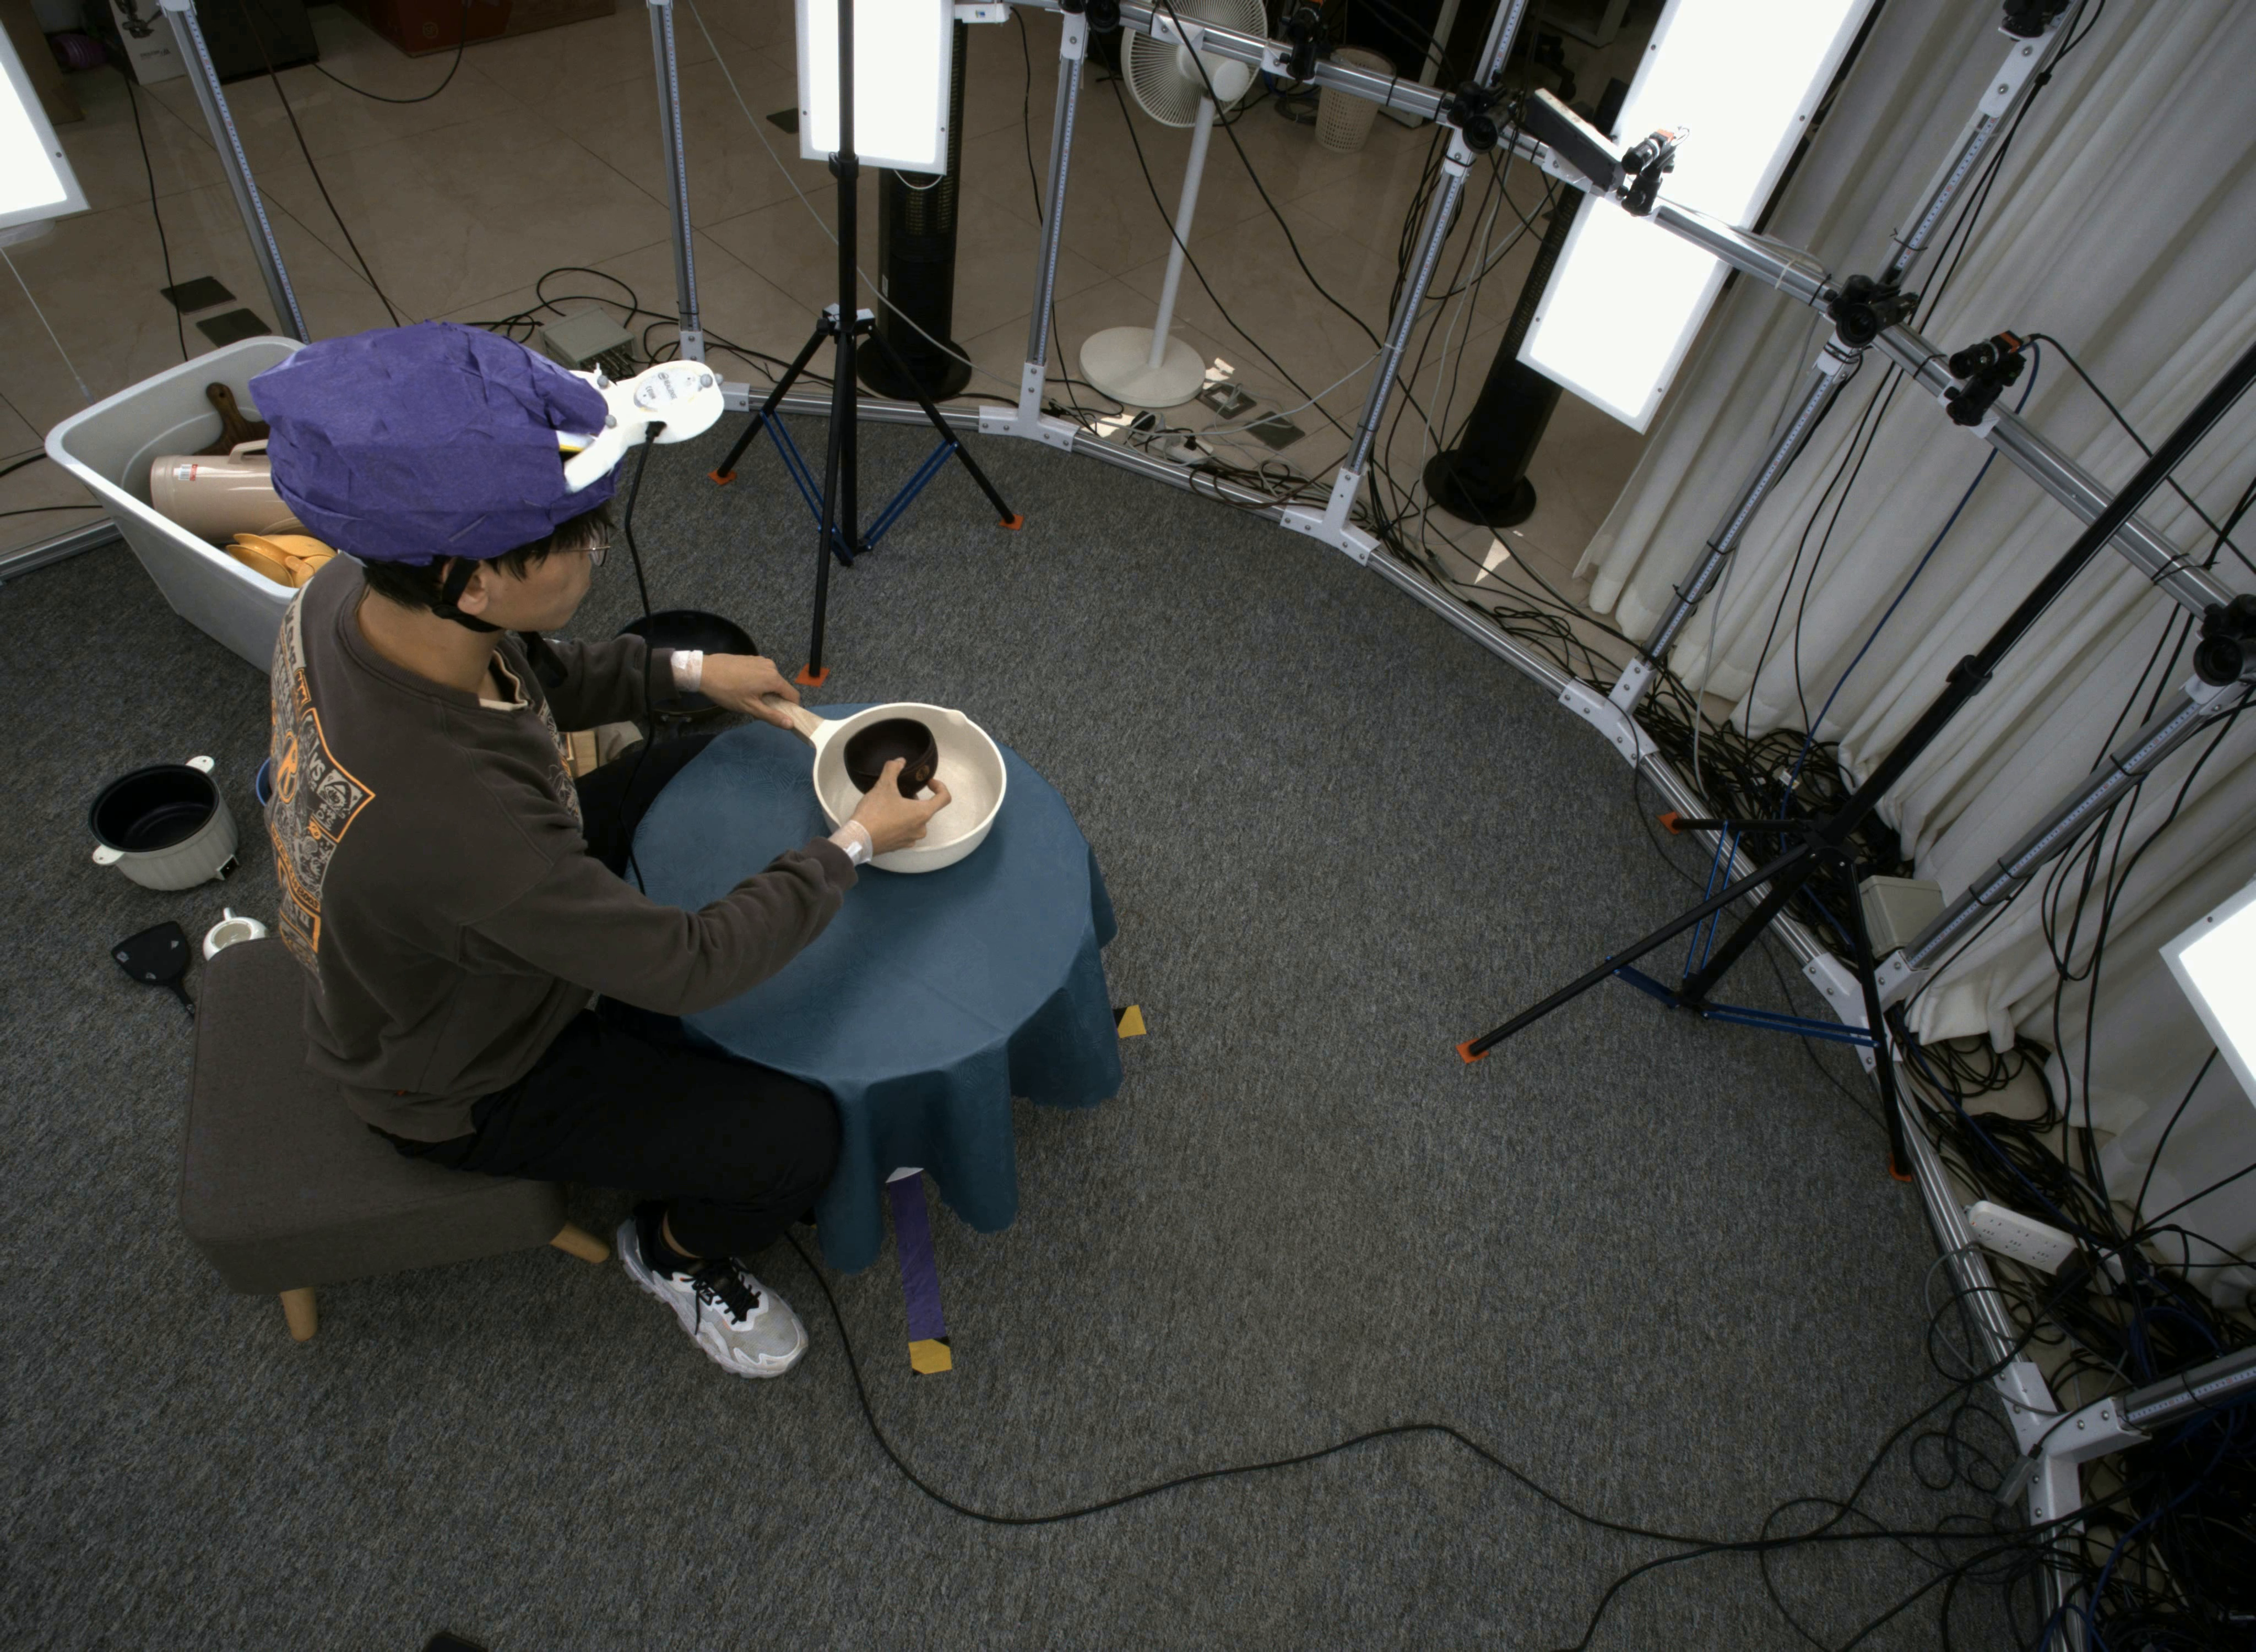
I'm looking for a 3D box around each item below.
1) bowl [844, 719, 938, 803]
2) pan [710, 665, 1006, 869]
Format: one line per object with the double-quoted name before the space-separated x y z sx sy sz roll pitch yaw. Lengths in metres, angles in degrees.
"bowl" -0.302 -0.076 1.680 0.116 0.072 0.115 -4 44 6
"pan" -0.372 -0.094 1.753 0.429 0.104 0.262 25 53 5
